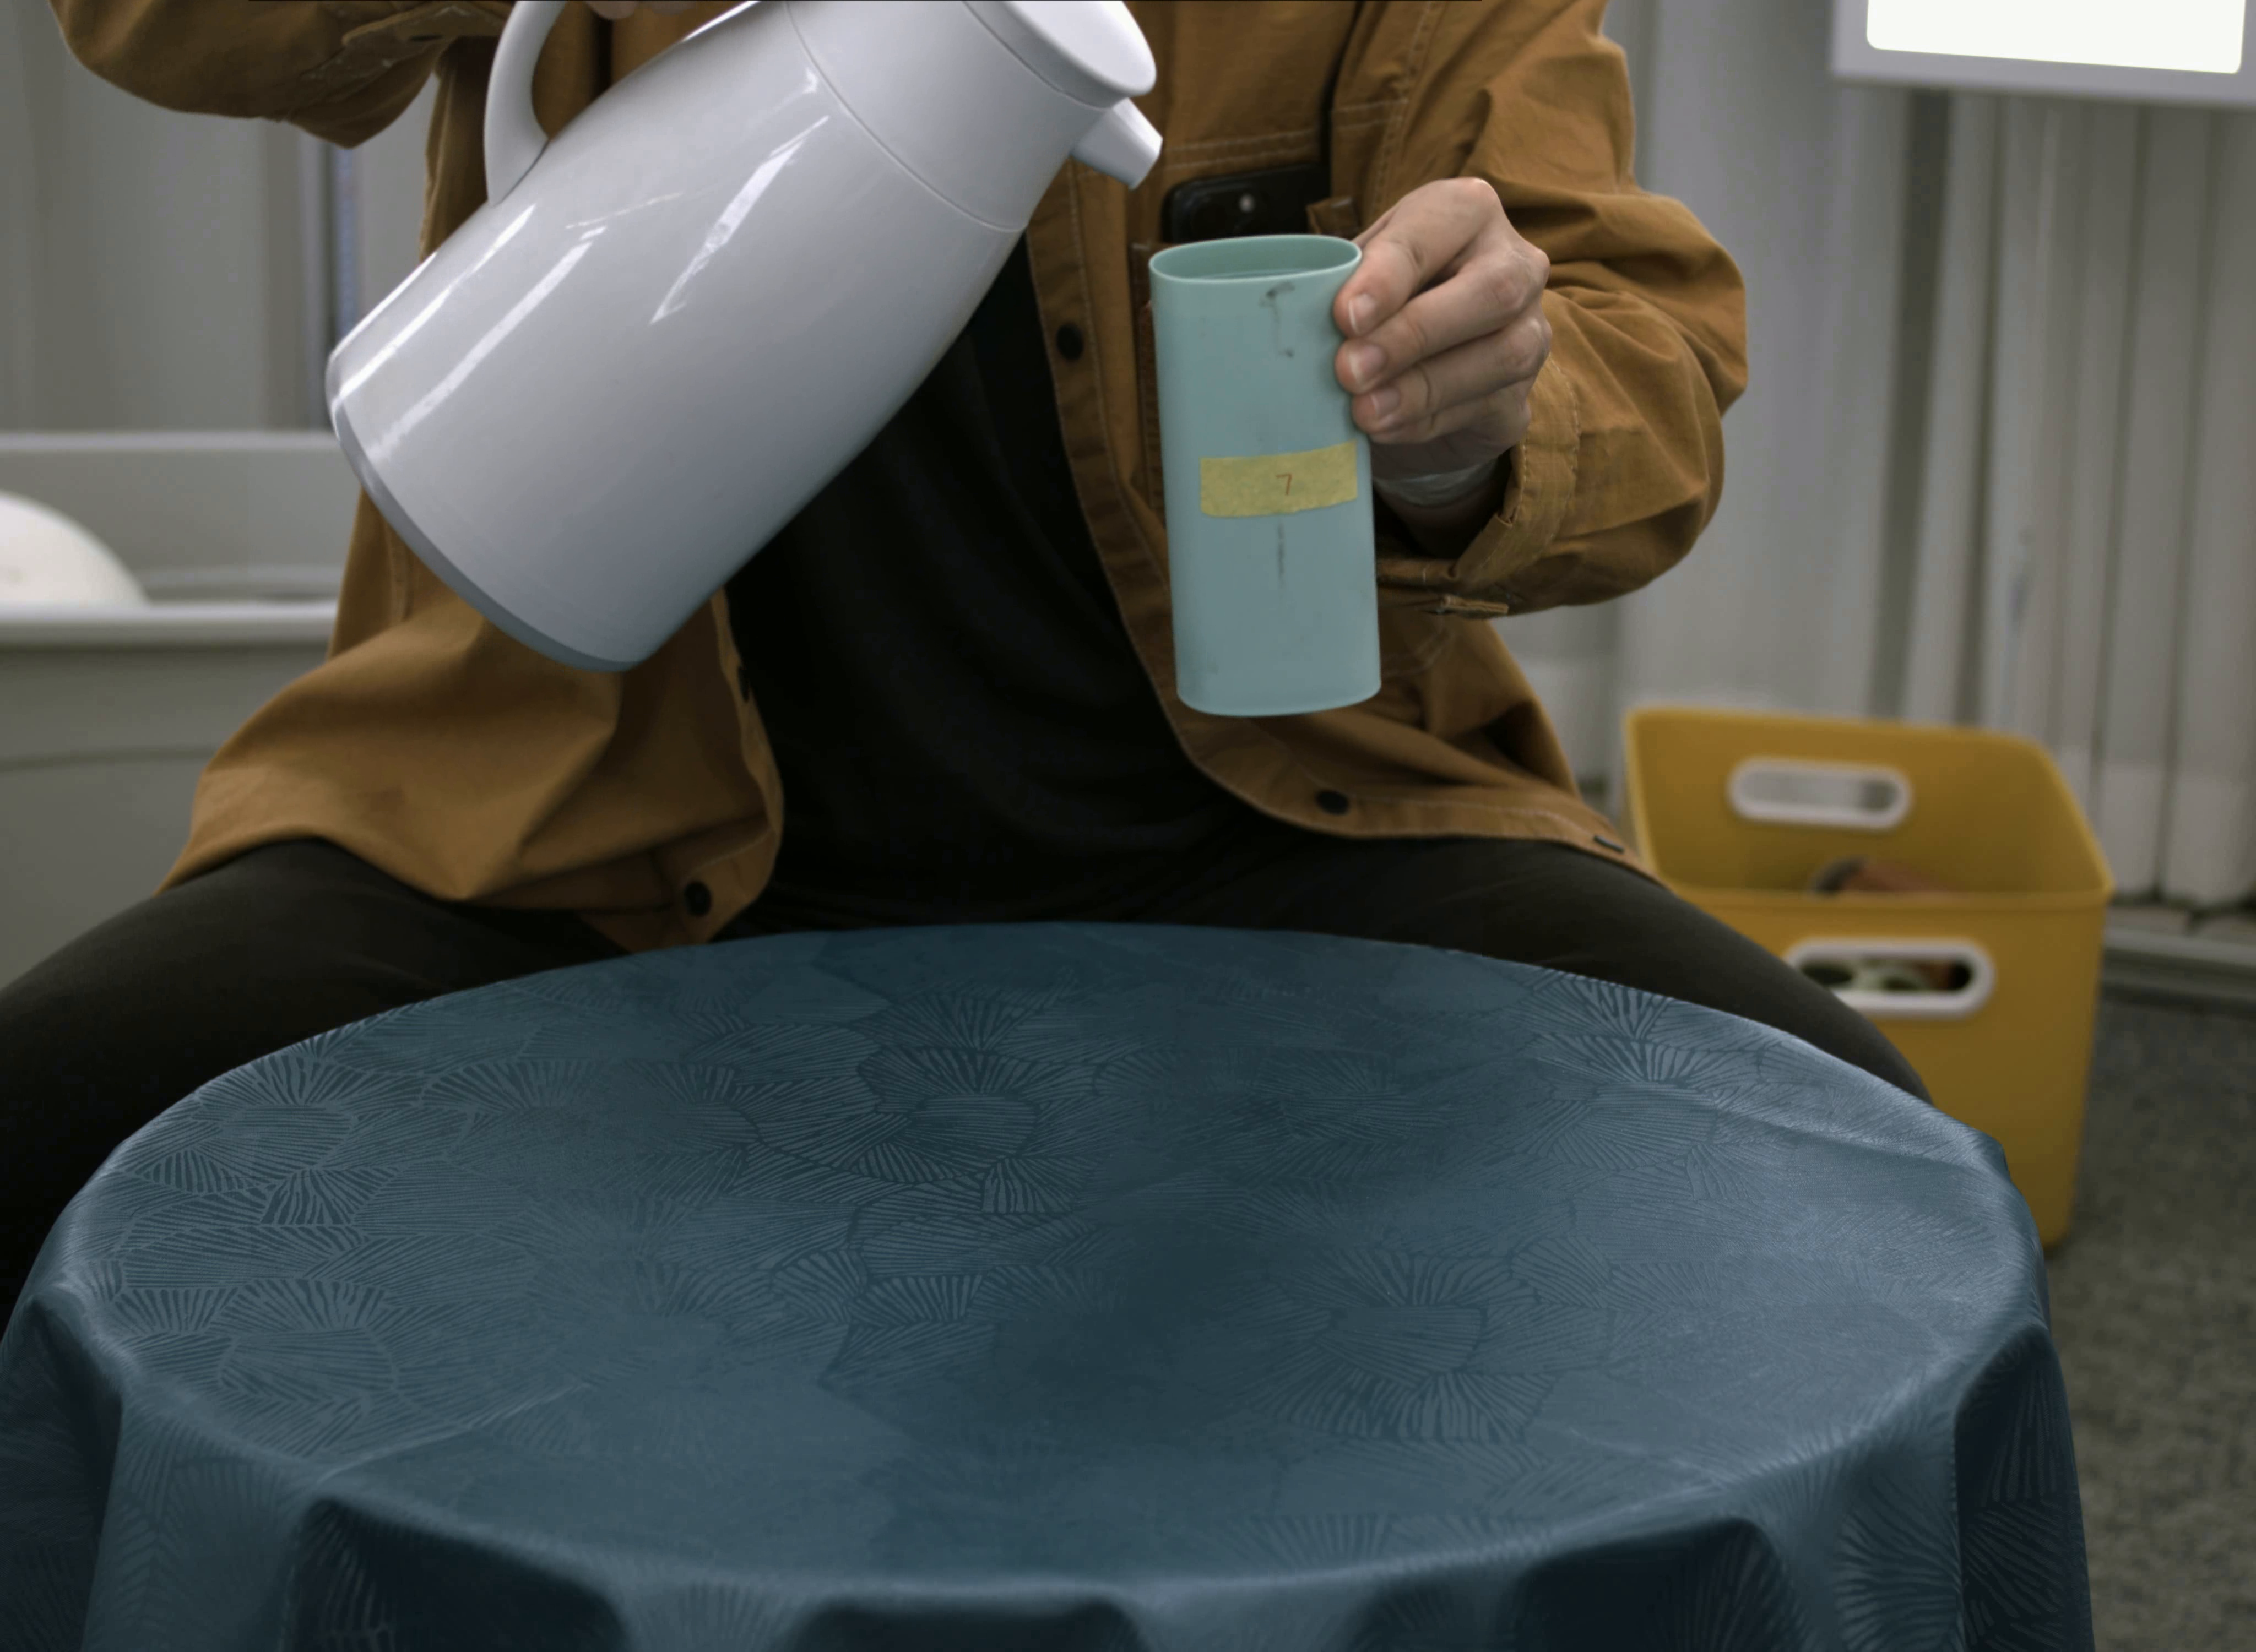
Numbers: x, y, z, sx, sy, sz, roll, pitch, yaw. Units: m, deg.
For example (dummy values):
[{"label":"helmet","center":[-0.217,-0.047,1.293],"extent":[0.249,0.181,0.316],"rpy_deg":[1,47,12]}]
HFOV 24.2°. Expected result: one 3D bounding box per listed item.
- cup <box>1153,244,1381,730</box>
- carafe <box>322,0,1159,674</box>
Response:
[{"label":"cup","center":[0.041,-0.100,1.541],"extent":[0.066,0.133,0.066],"rpy_deg":[-3,18,1]},{"label":"carafe","center":[-0.120,-0.185,1.530],"extent":[0.169,0.248,0.131],"rpy_deg":[41,21,-16]}]
